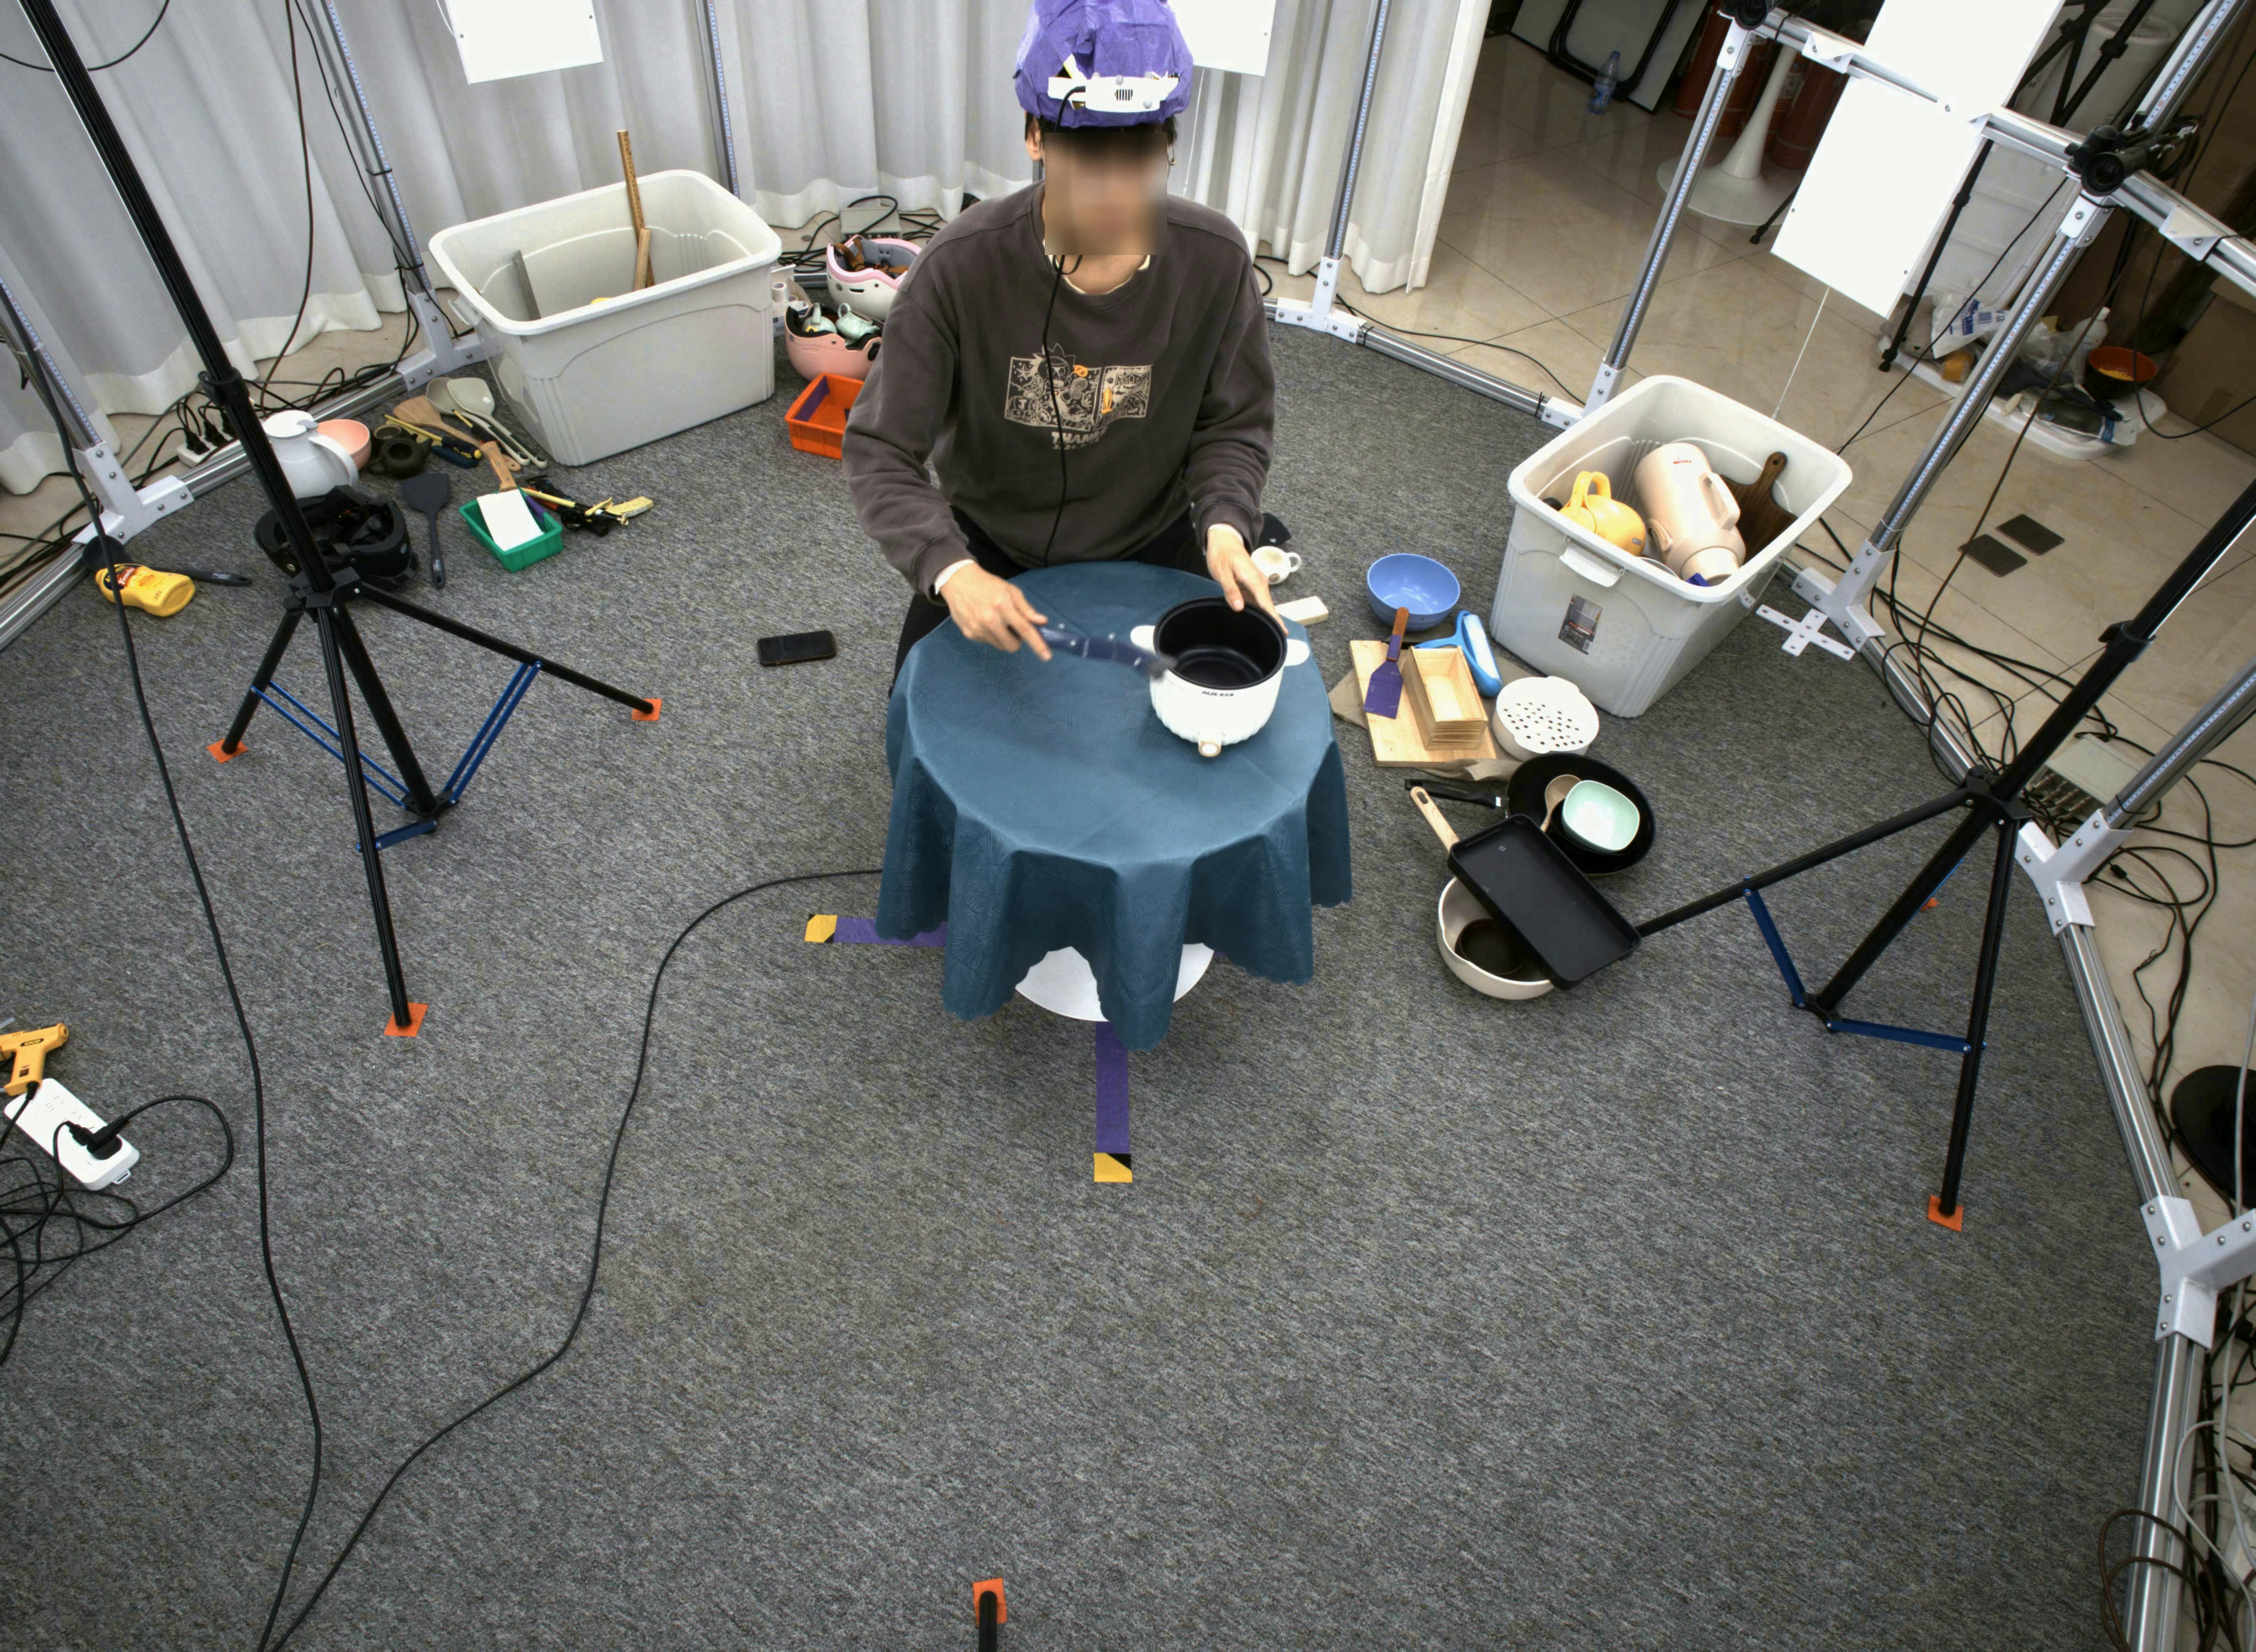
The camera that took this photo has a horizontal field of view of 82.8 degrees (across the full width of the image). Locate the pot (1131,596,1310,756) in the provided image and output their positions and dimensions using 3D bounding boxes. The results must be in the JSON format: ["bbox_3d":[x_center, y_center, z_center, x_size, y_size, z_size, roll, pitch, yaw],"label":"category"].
[{"bbox_3d":[0.121,-0.202,1.759,0.240,0.139,0.195,4,46,1],"label":"pot"}]

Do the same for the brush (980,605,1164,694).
[{"bbox_3d":[-0.082,-0.227,1.634,0.275,0.033,0.097,17,27,19],"label":"brush"}]
